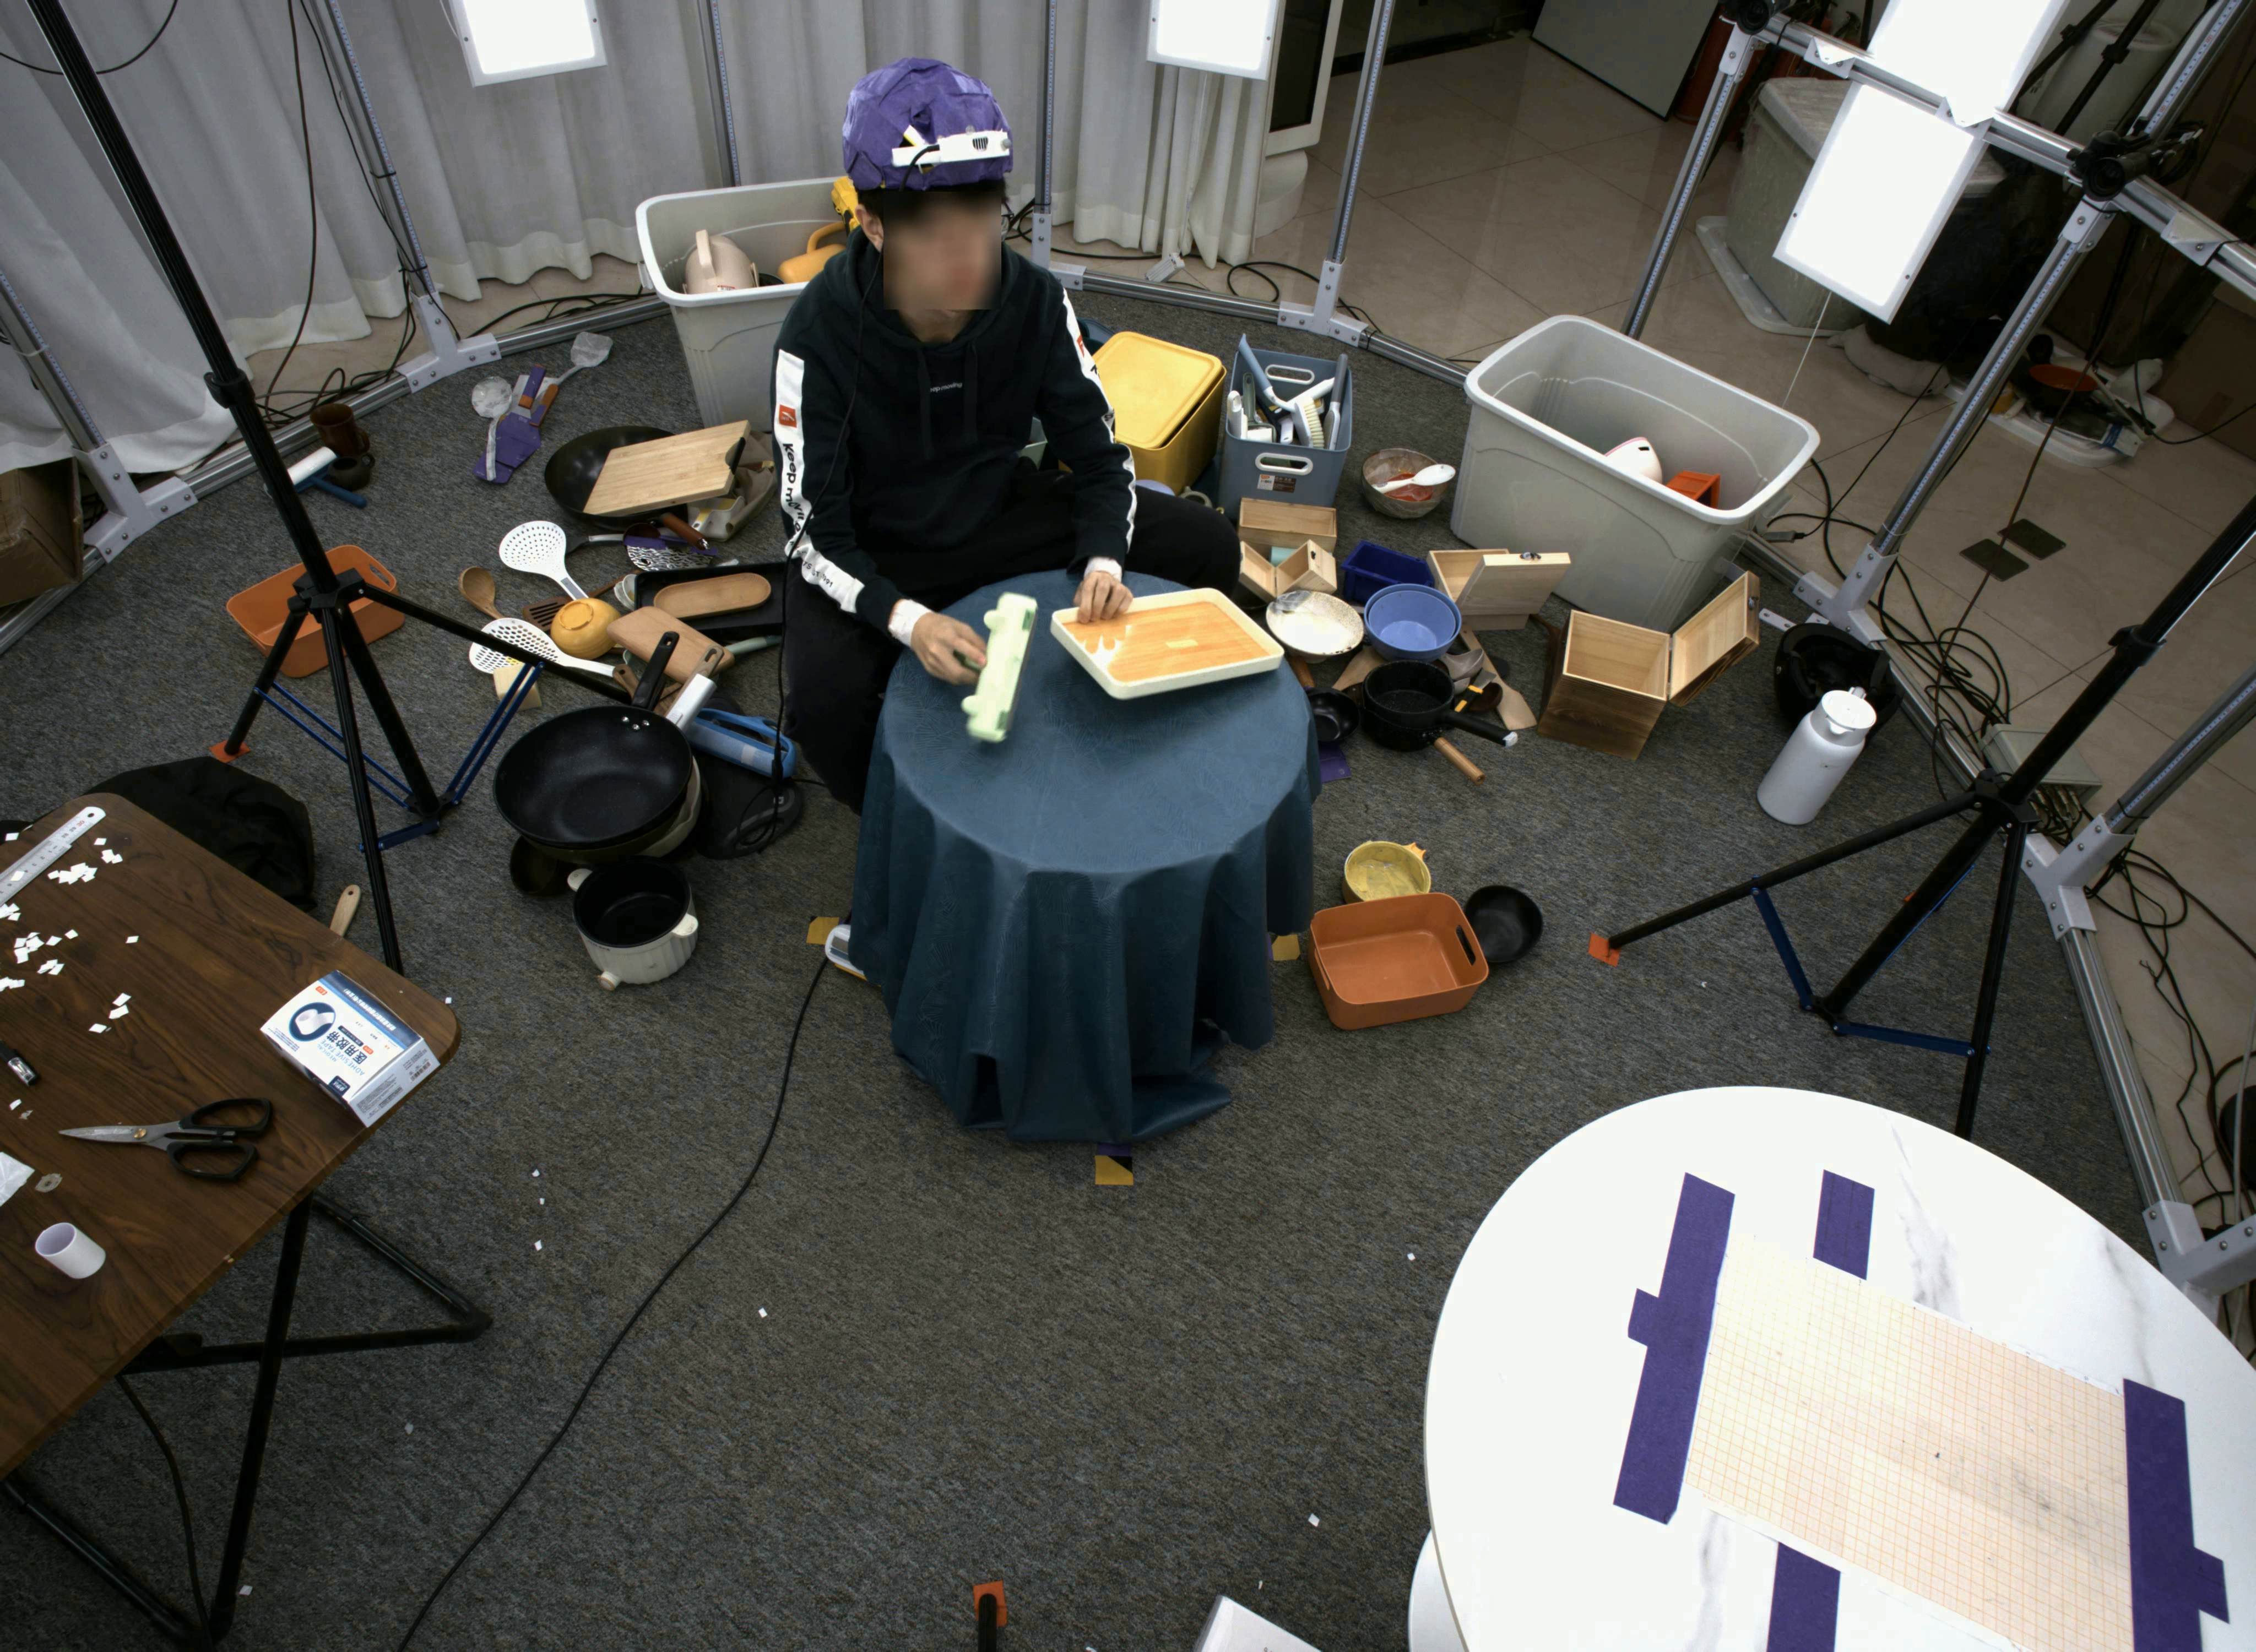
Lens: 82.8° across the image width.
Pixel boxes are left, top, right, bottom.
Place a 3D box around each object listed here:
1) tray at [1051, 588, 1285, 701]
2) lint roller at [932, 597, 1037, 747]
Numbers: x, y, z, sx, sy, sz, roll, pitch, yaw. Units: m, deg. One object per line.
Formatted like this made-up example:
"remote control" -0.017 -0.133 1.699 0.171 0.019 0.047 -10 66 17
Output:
"tray" 0.059 -0.264 1.837 0.300 0.027 0.195 -15 46 -31
"lint roller" -0.218 -0.221 1.740 0.185 0.081 0.198 18 91 35
